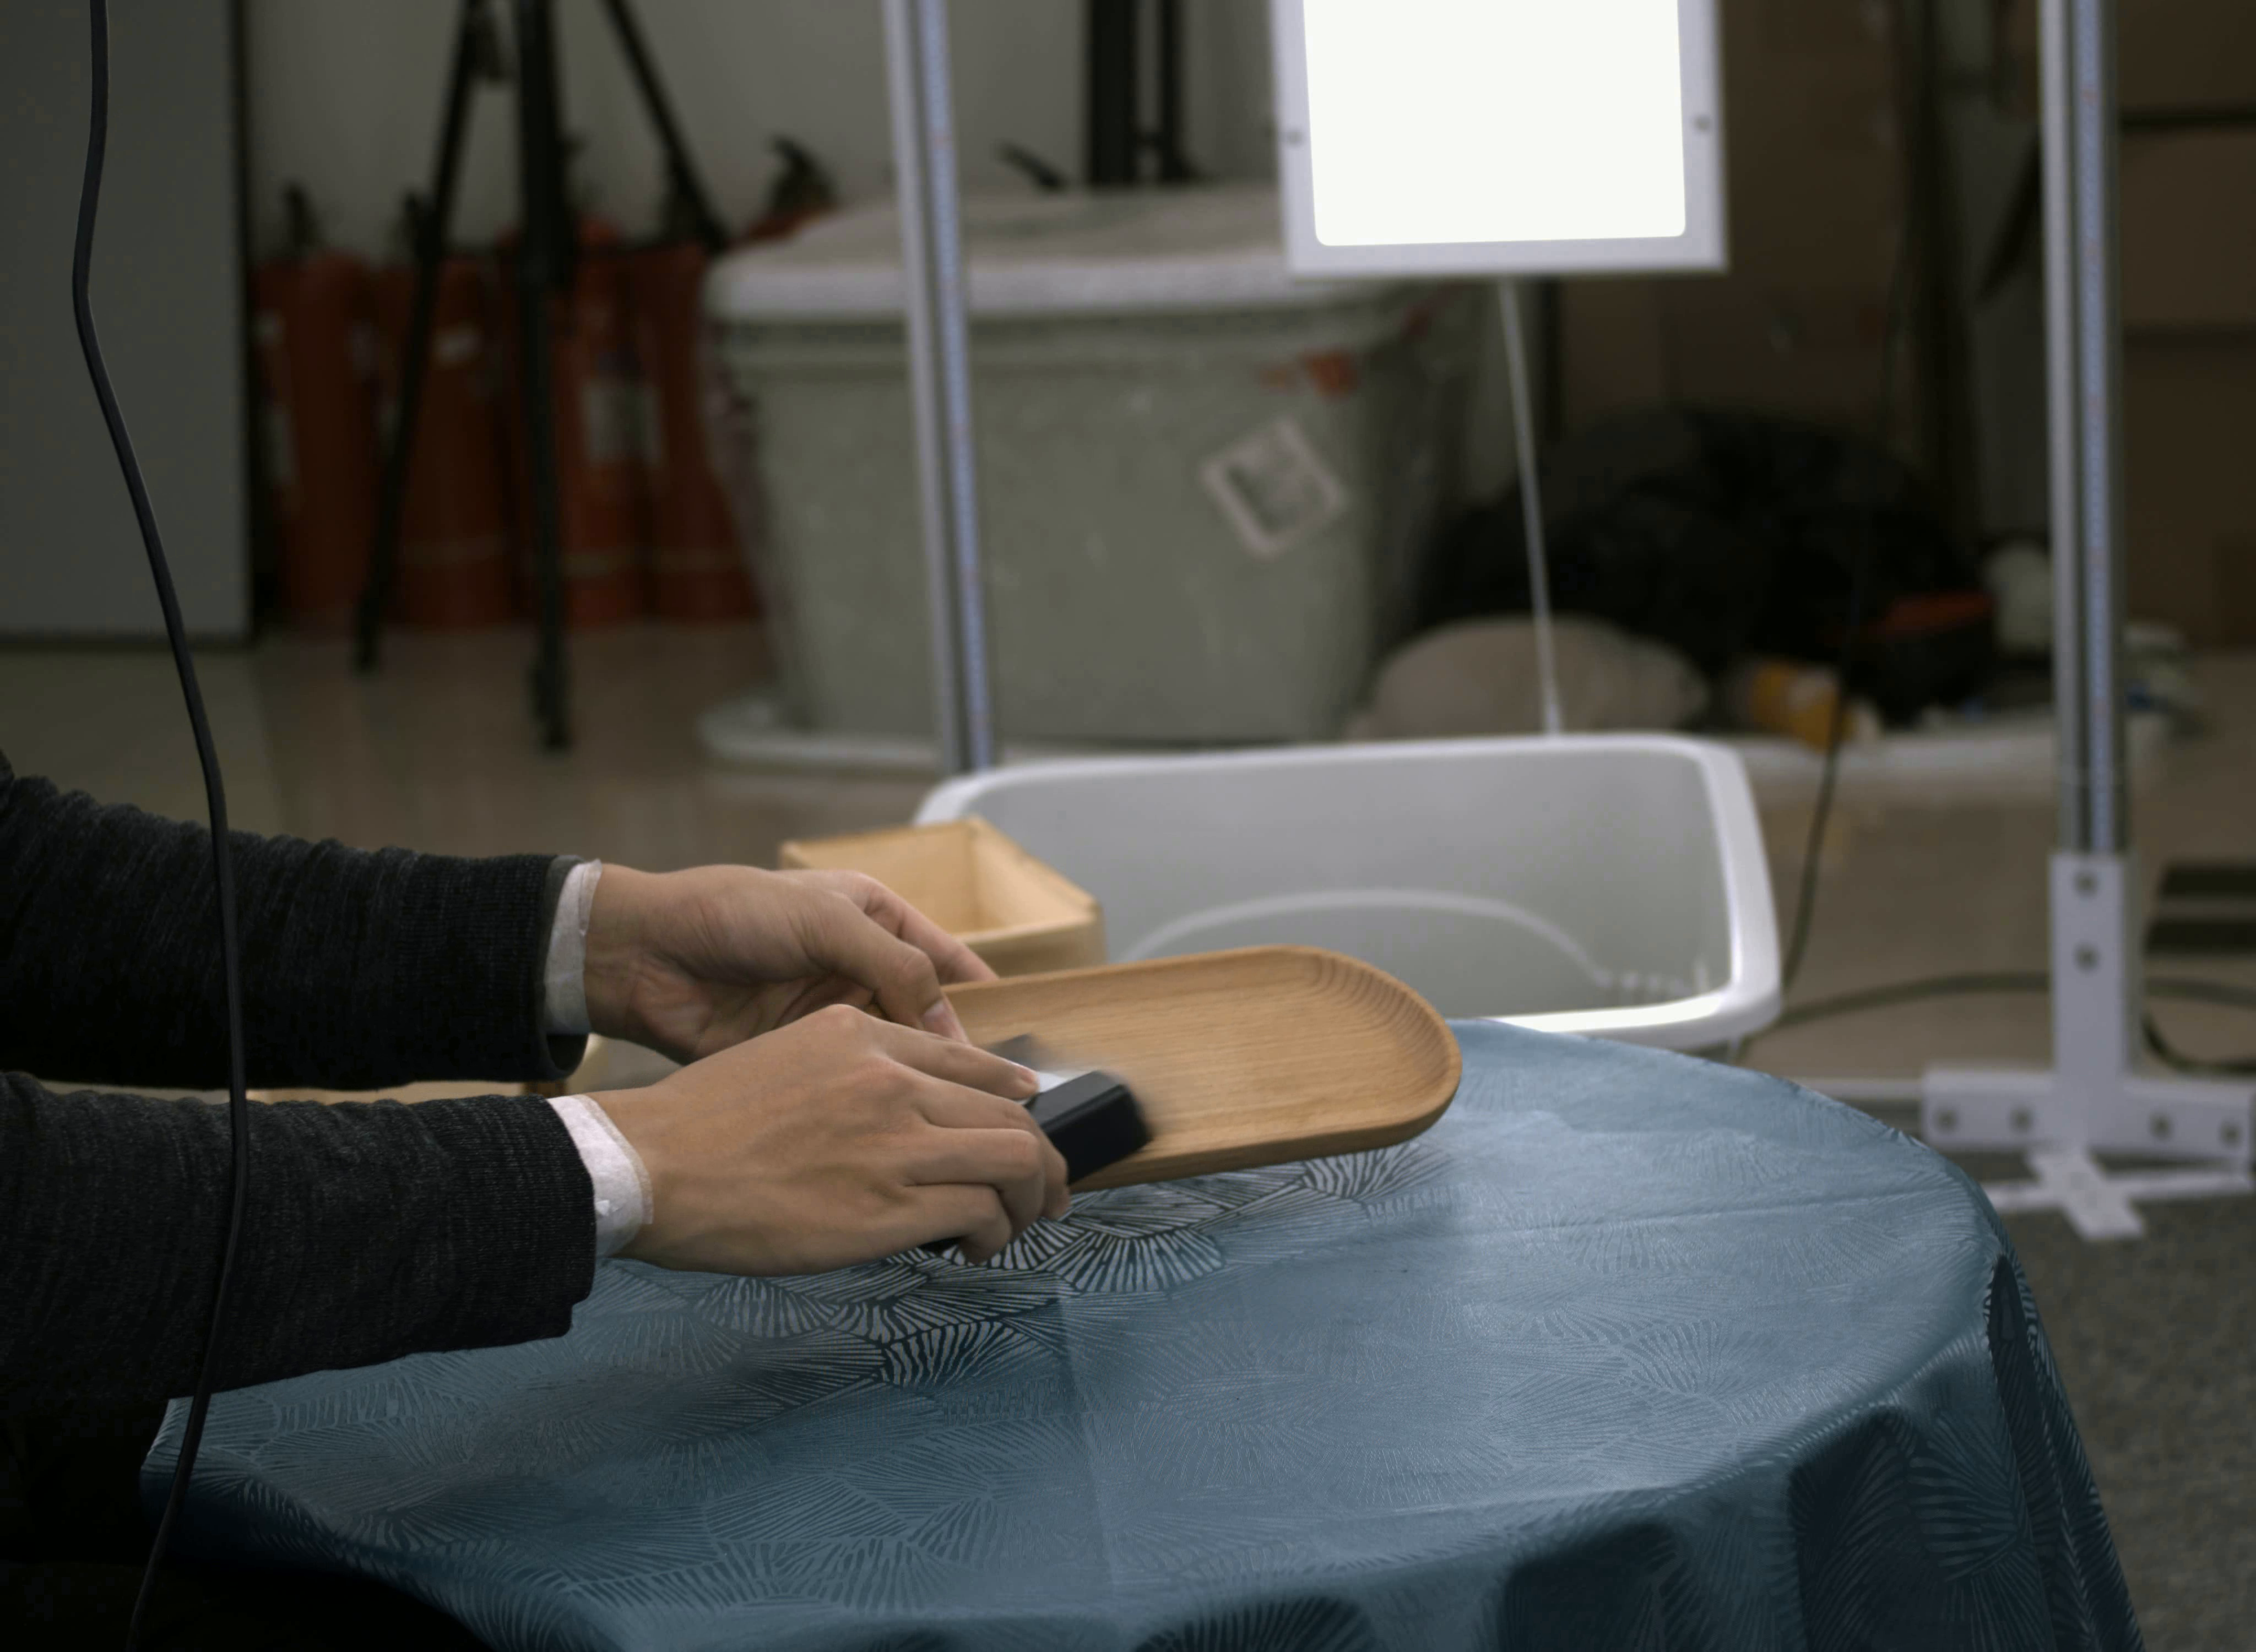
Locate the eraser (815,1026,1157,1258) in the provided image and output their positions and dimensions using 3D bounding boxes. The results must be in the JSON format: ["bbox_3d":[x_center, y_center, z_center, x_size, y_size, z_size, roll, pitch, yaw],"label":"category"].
[{"bbox_3d":[-0.046,0.101,1.794,0.054,0.031,0.122,21,27,29],"label":"eraser"}]

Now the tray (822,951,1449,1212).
[{"bbox_3d":[0.004,0.087,1.870,0.226,0.020,0.103,-8,38,-26],"label":"tray"}]
